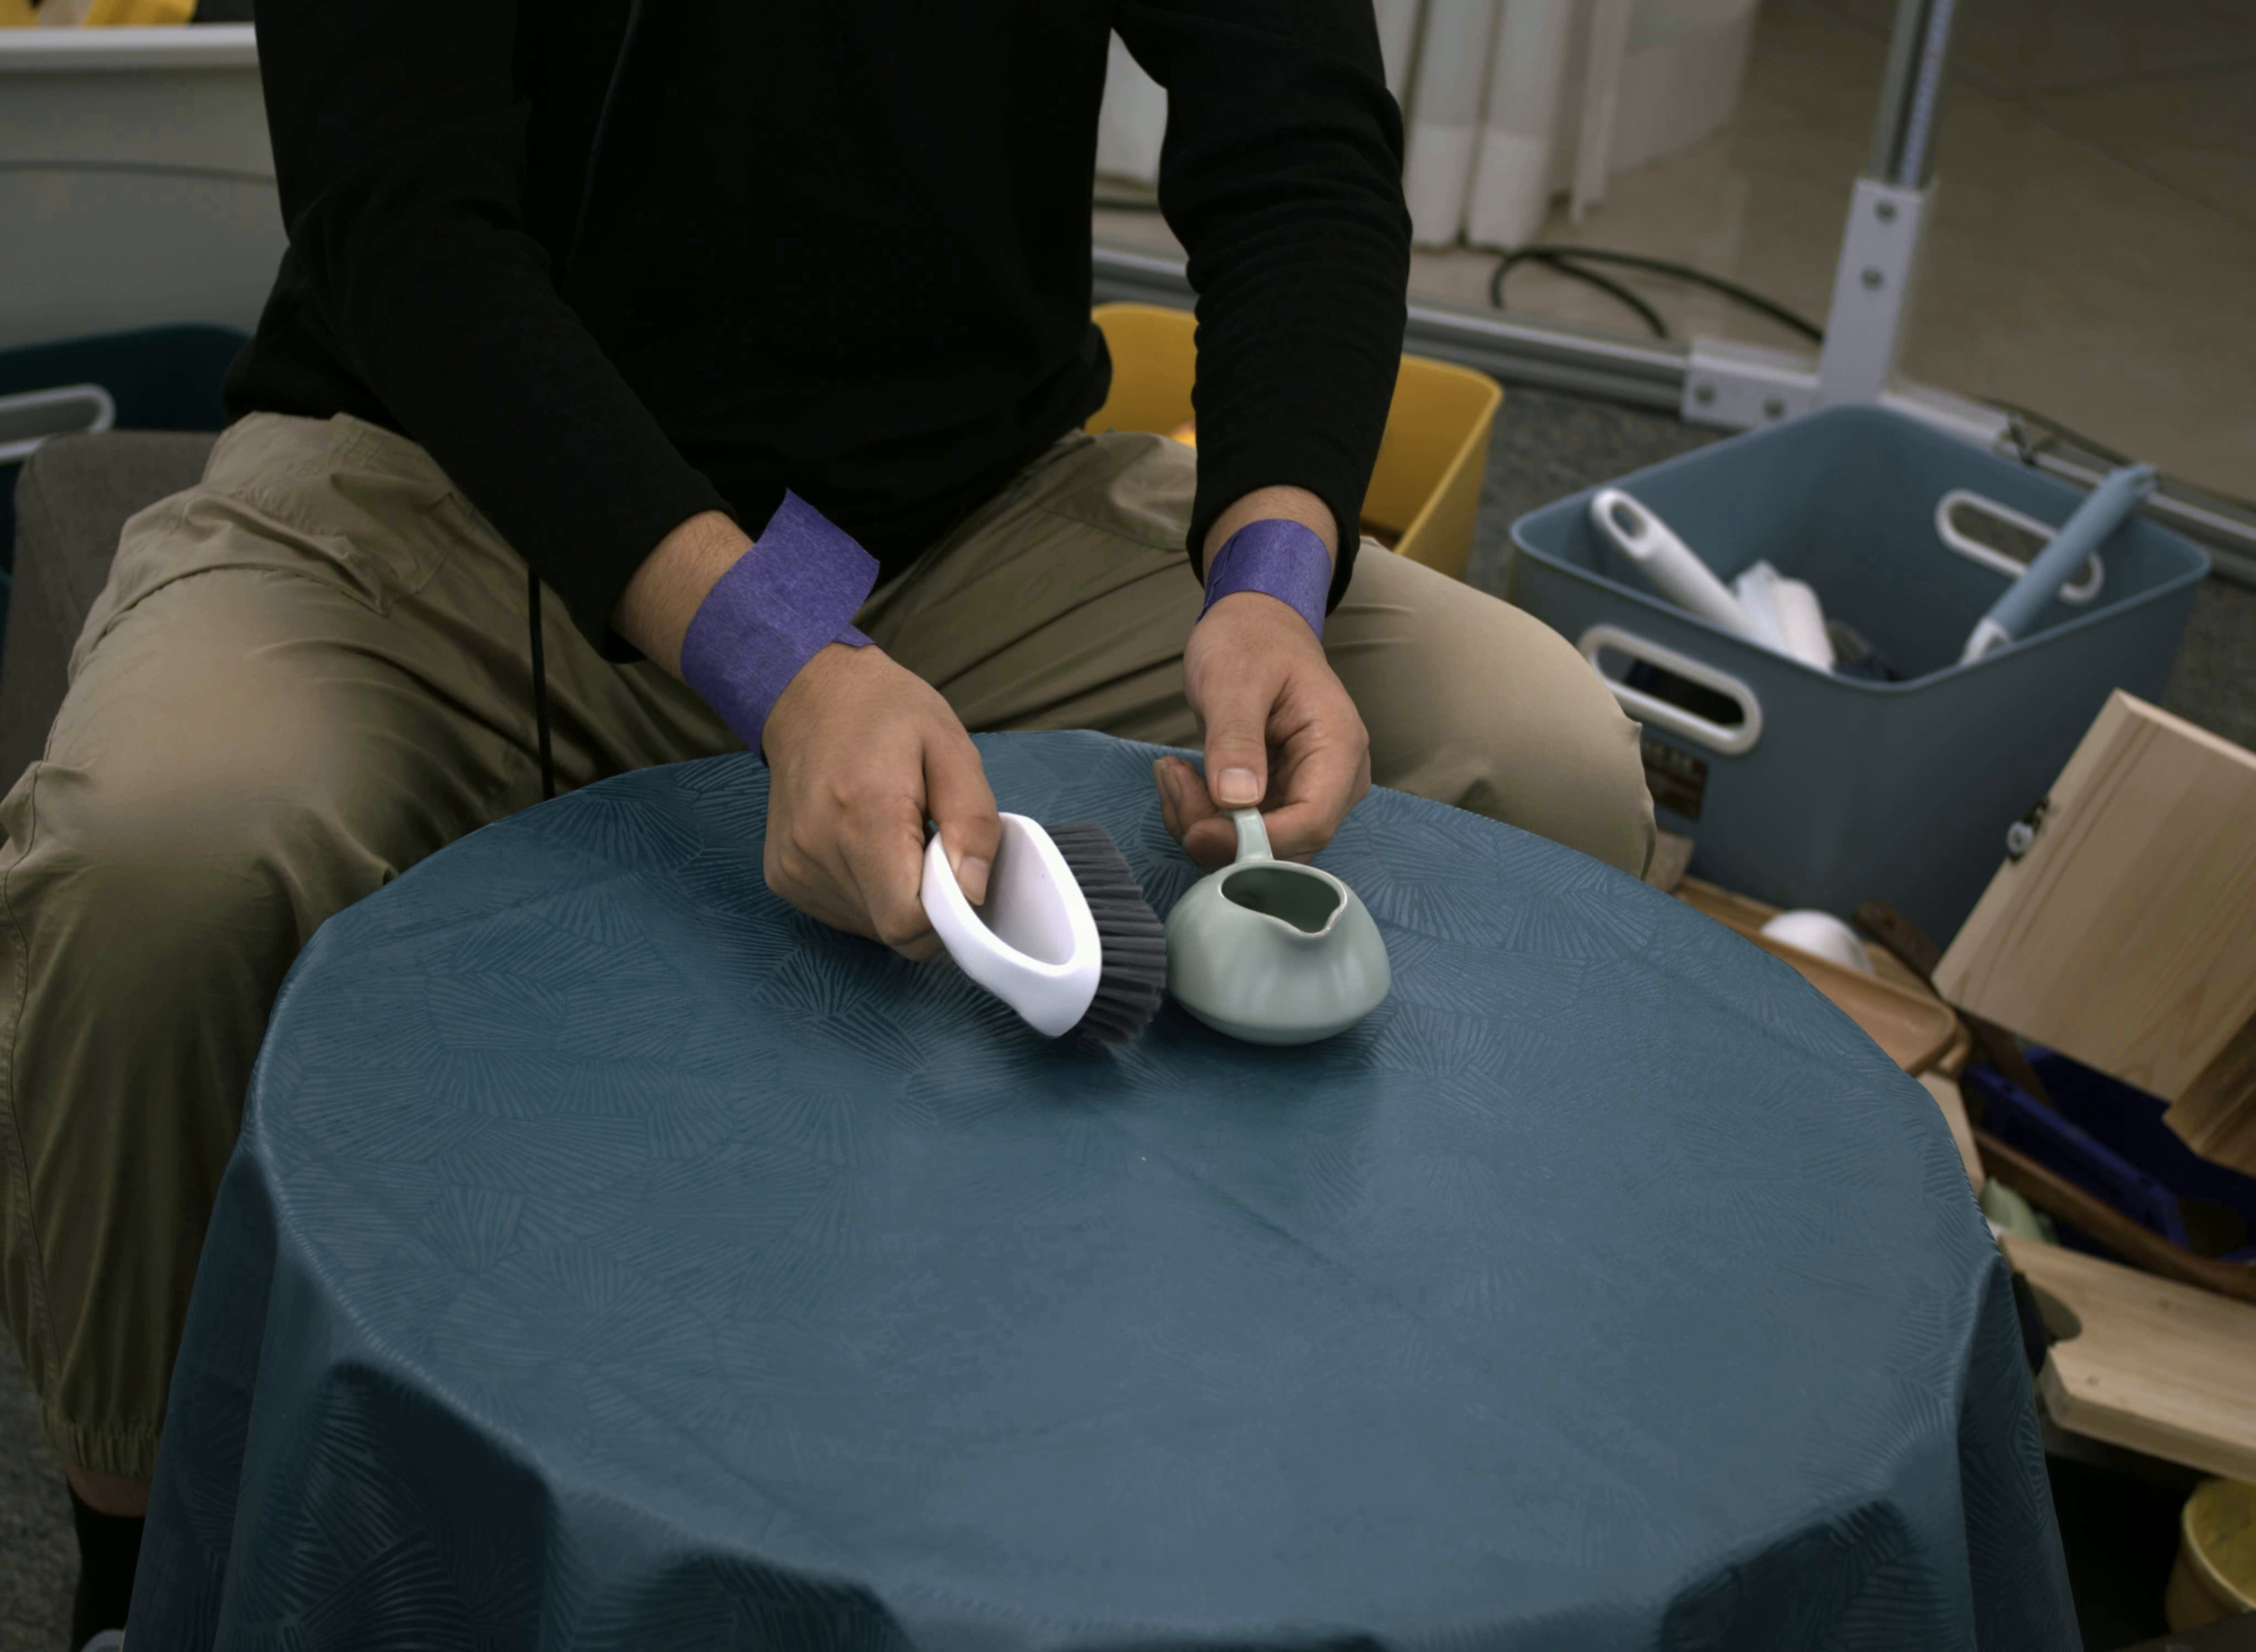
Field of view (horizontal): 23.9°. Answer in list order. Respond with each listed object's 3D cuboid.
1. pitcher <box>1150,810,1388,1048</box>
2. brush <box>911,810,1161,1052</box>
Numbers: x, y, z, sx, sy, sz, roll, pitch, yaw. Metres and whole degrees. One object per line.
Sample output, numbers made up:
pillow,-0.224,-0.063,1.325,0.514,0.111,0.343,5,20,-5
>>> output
pitcher,0.048,0.038,1.919,0.085,0.060,0.109,-2,25,-18
brush,-0.040,0.033,1.884,0.072,0.050,0.100,11,35,-32
